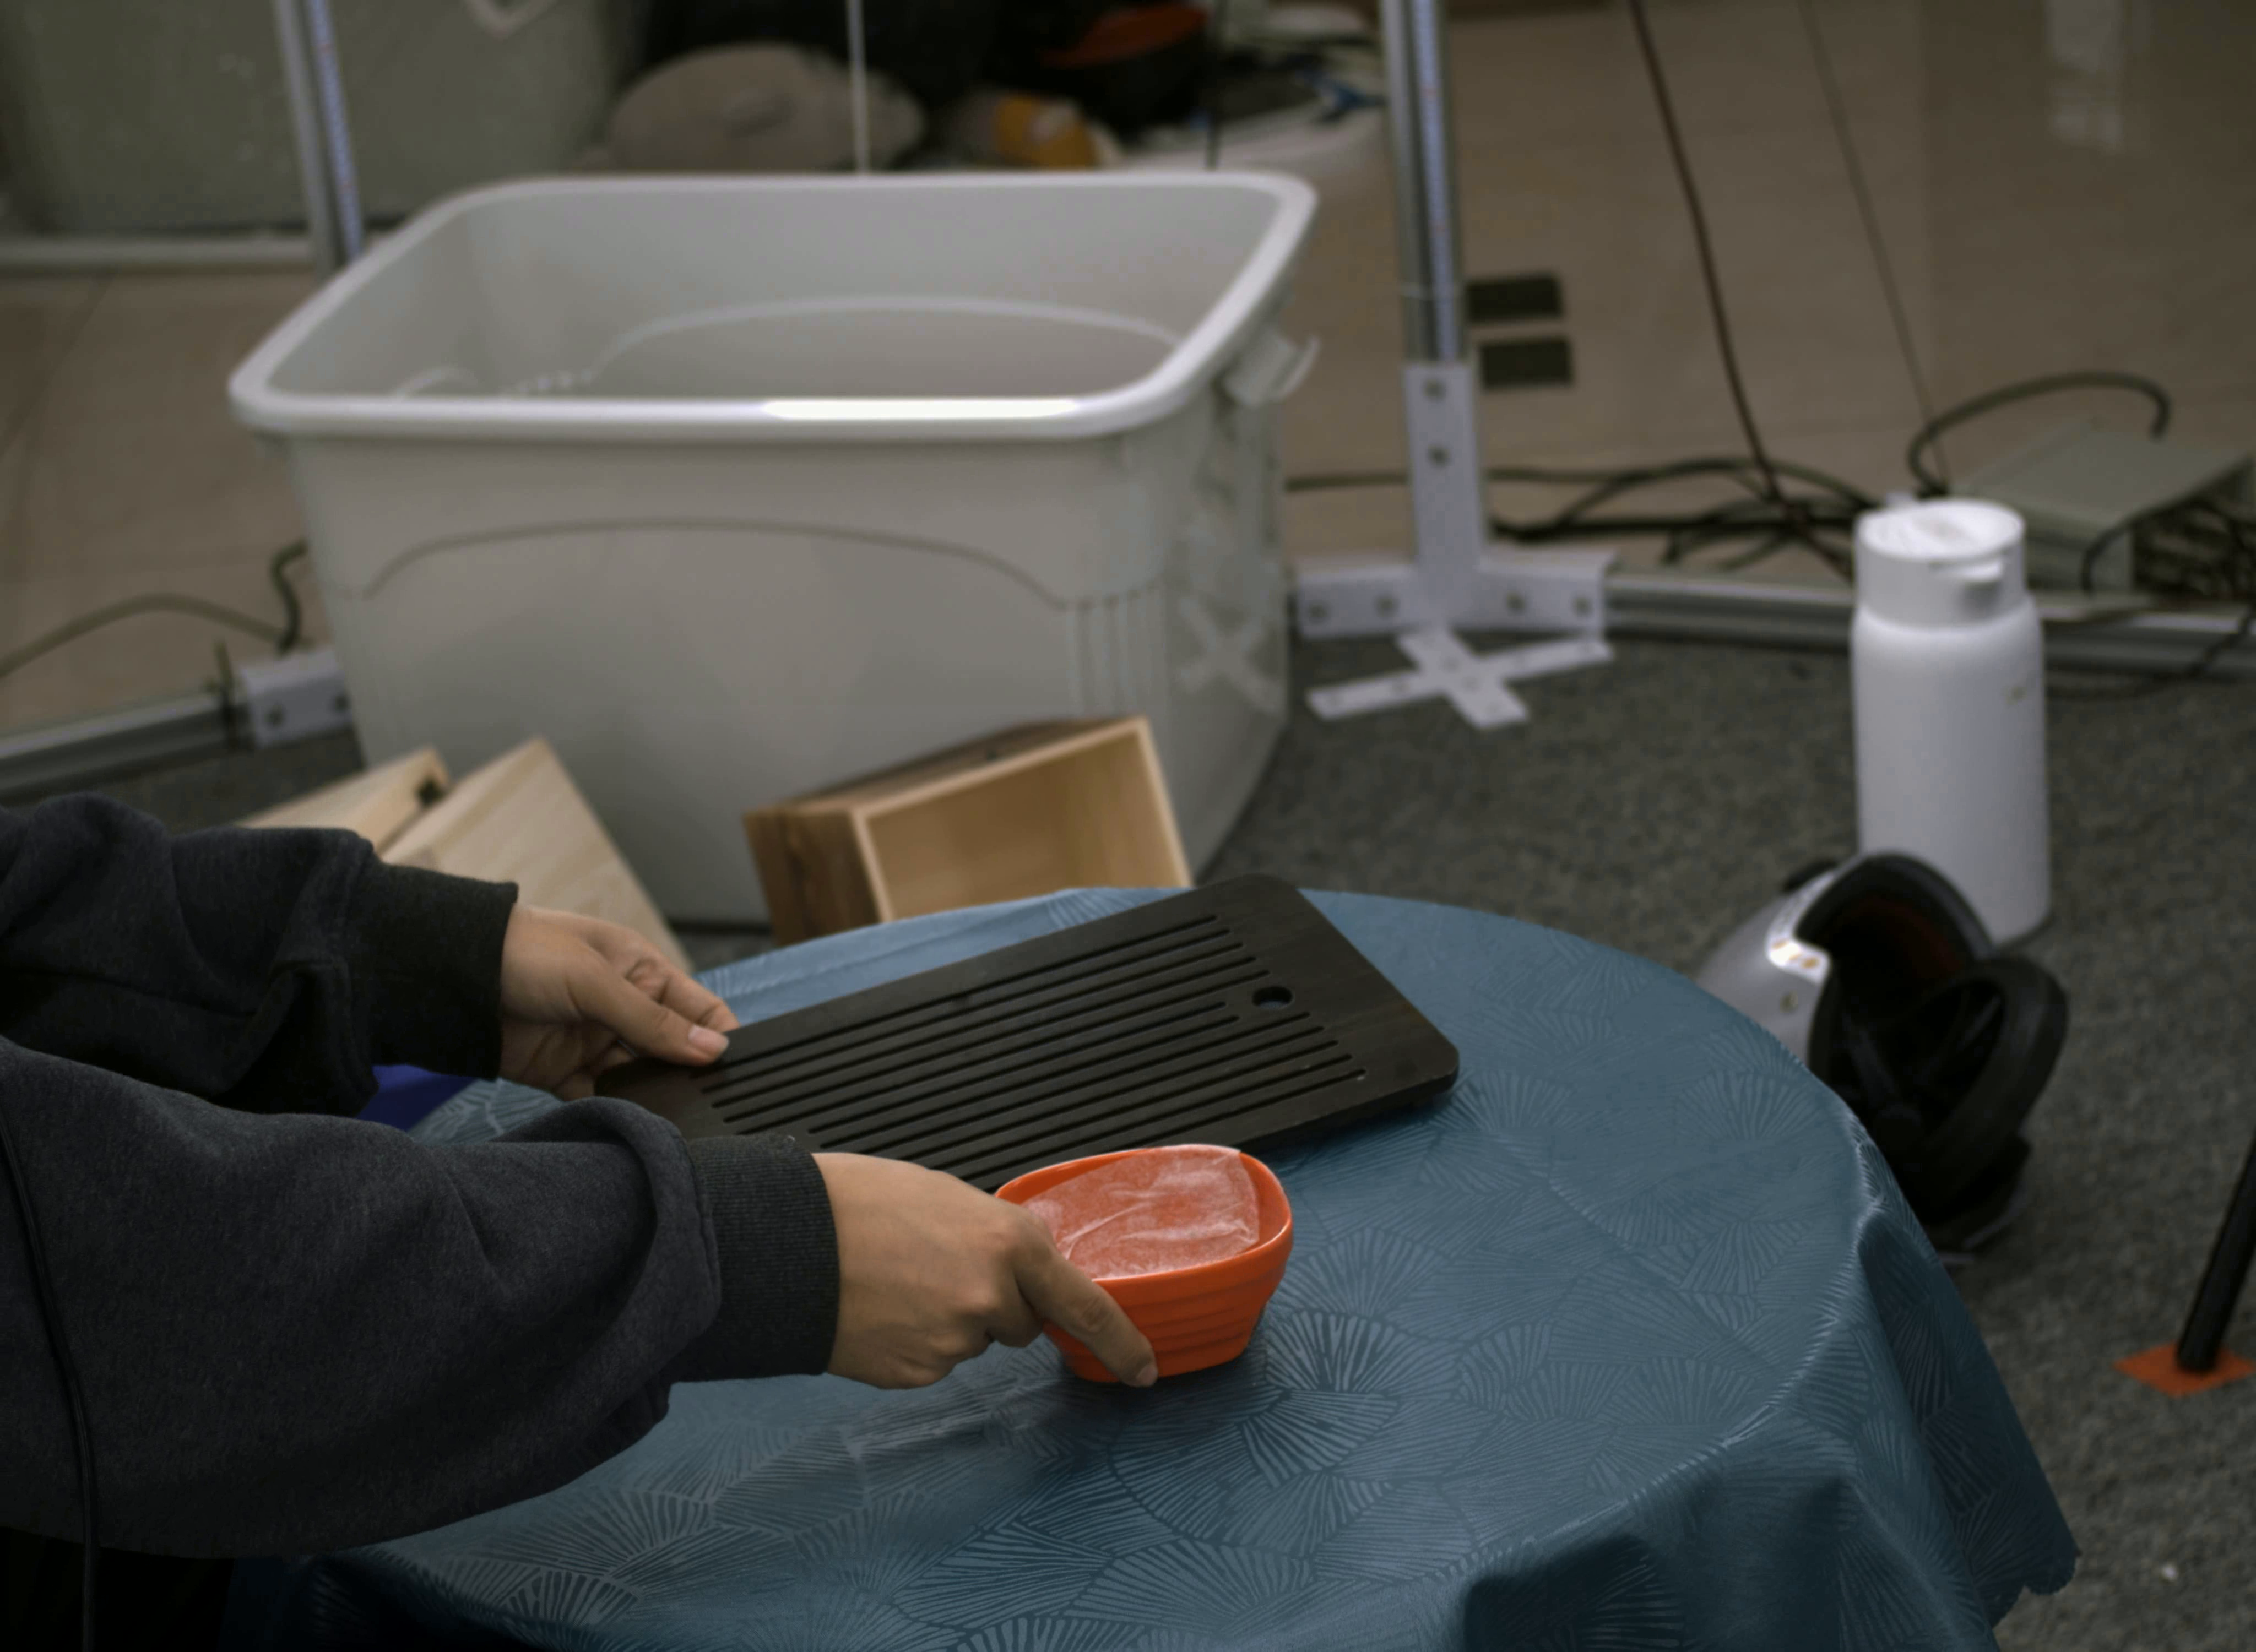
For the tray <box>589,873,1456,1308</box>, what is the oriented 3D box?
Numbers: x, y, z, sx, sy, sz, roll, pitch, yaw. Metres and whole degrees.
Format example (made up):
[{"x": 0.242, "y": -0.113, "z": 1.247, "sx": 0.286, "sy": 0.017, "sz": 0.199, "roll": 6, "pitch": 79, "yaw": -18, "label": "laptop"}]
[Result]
[{"x": -0.041, "y": 0.101, "z": 2.194, "sx": 0.304, "sy": 0.019, "sz": 0.168, "roll": -17, "pitch": 35, "yaw": -20, "label": "tray"}]

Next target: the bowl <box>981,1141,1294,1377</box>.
[{"x": 0.004, "y": 0.159, "z": 2.027, "sx": 0.119, "sy": 0.052, "sz": 0.117, "roll": -3, "pitch": 22, "yaw": 1, "label": "bowl"}]
